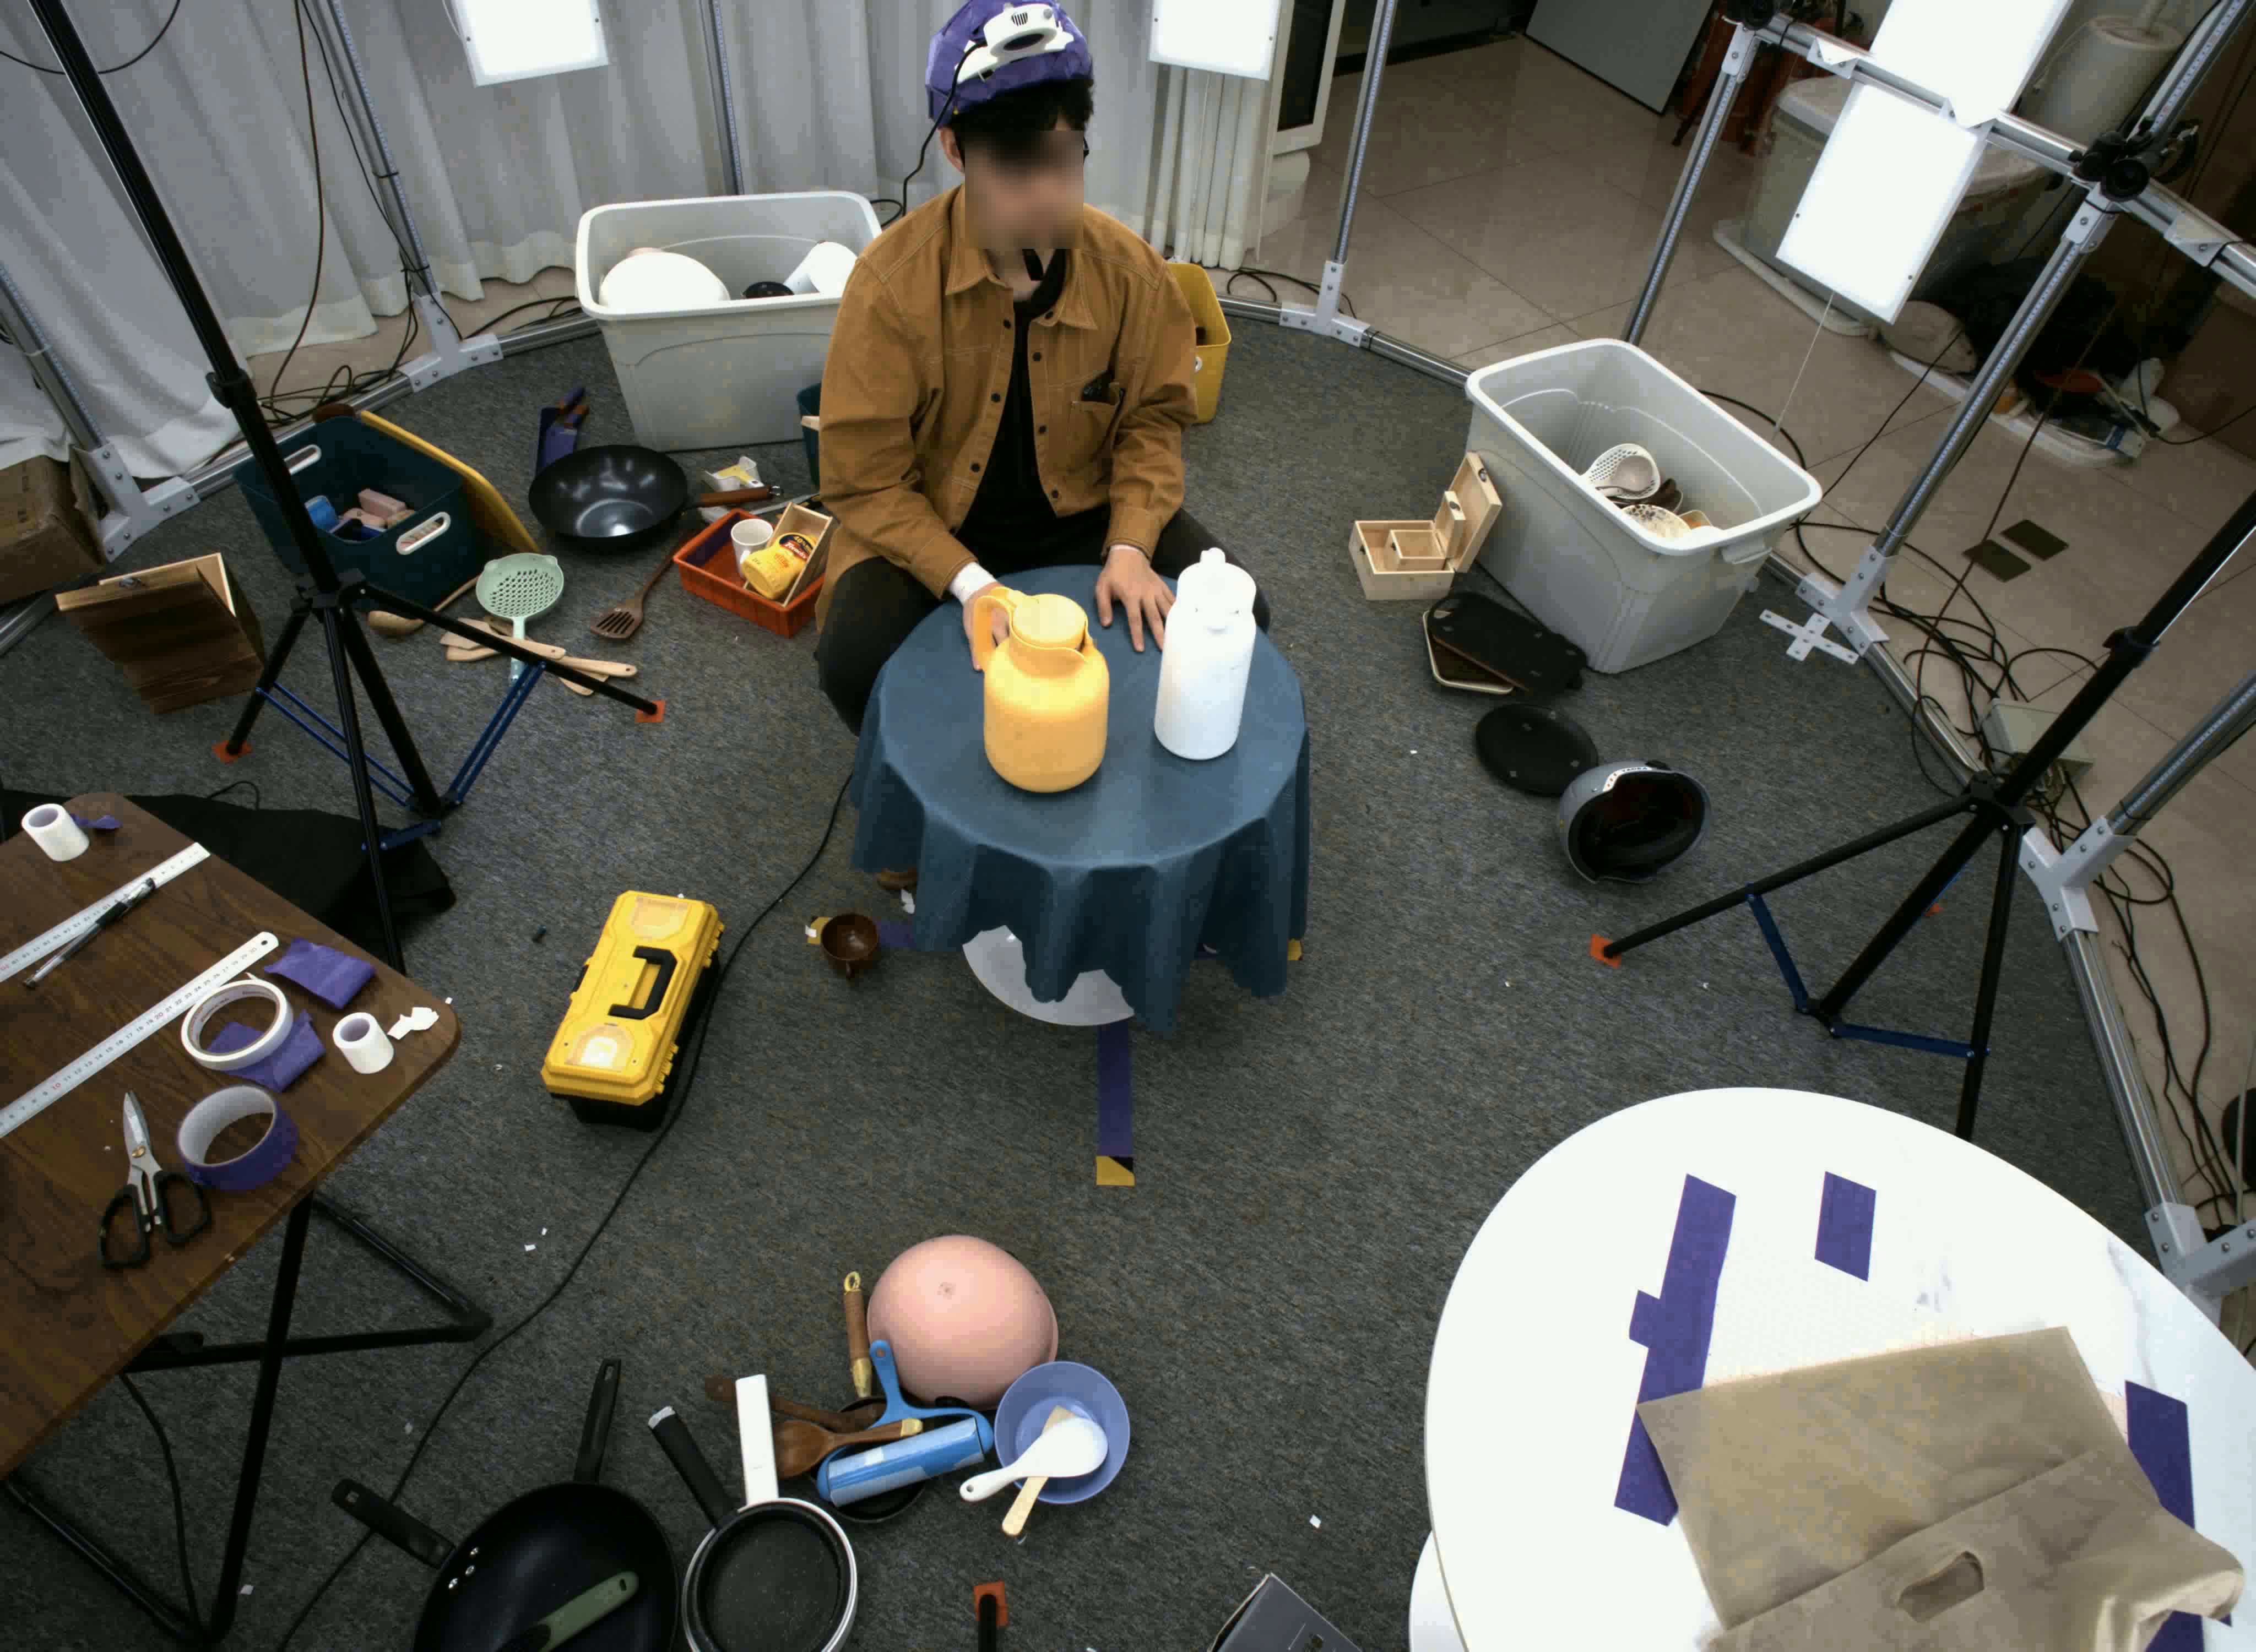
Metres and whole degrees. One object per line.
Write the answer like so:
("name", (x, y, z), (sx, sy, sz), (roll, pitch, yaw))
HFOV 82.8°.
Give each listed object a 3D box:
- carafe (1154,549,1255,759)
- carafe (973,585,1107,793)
("carafe", (0.100, -0.229, 1.702), (0.124, 0.262, 0.177), (1, 49, -1))
("carafe", (-0.120, -0.186, 1.654), (0.205, 0.254, 0.165), (39, 55, 24))
